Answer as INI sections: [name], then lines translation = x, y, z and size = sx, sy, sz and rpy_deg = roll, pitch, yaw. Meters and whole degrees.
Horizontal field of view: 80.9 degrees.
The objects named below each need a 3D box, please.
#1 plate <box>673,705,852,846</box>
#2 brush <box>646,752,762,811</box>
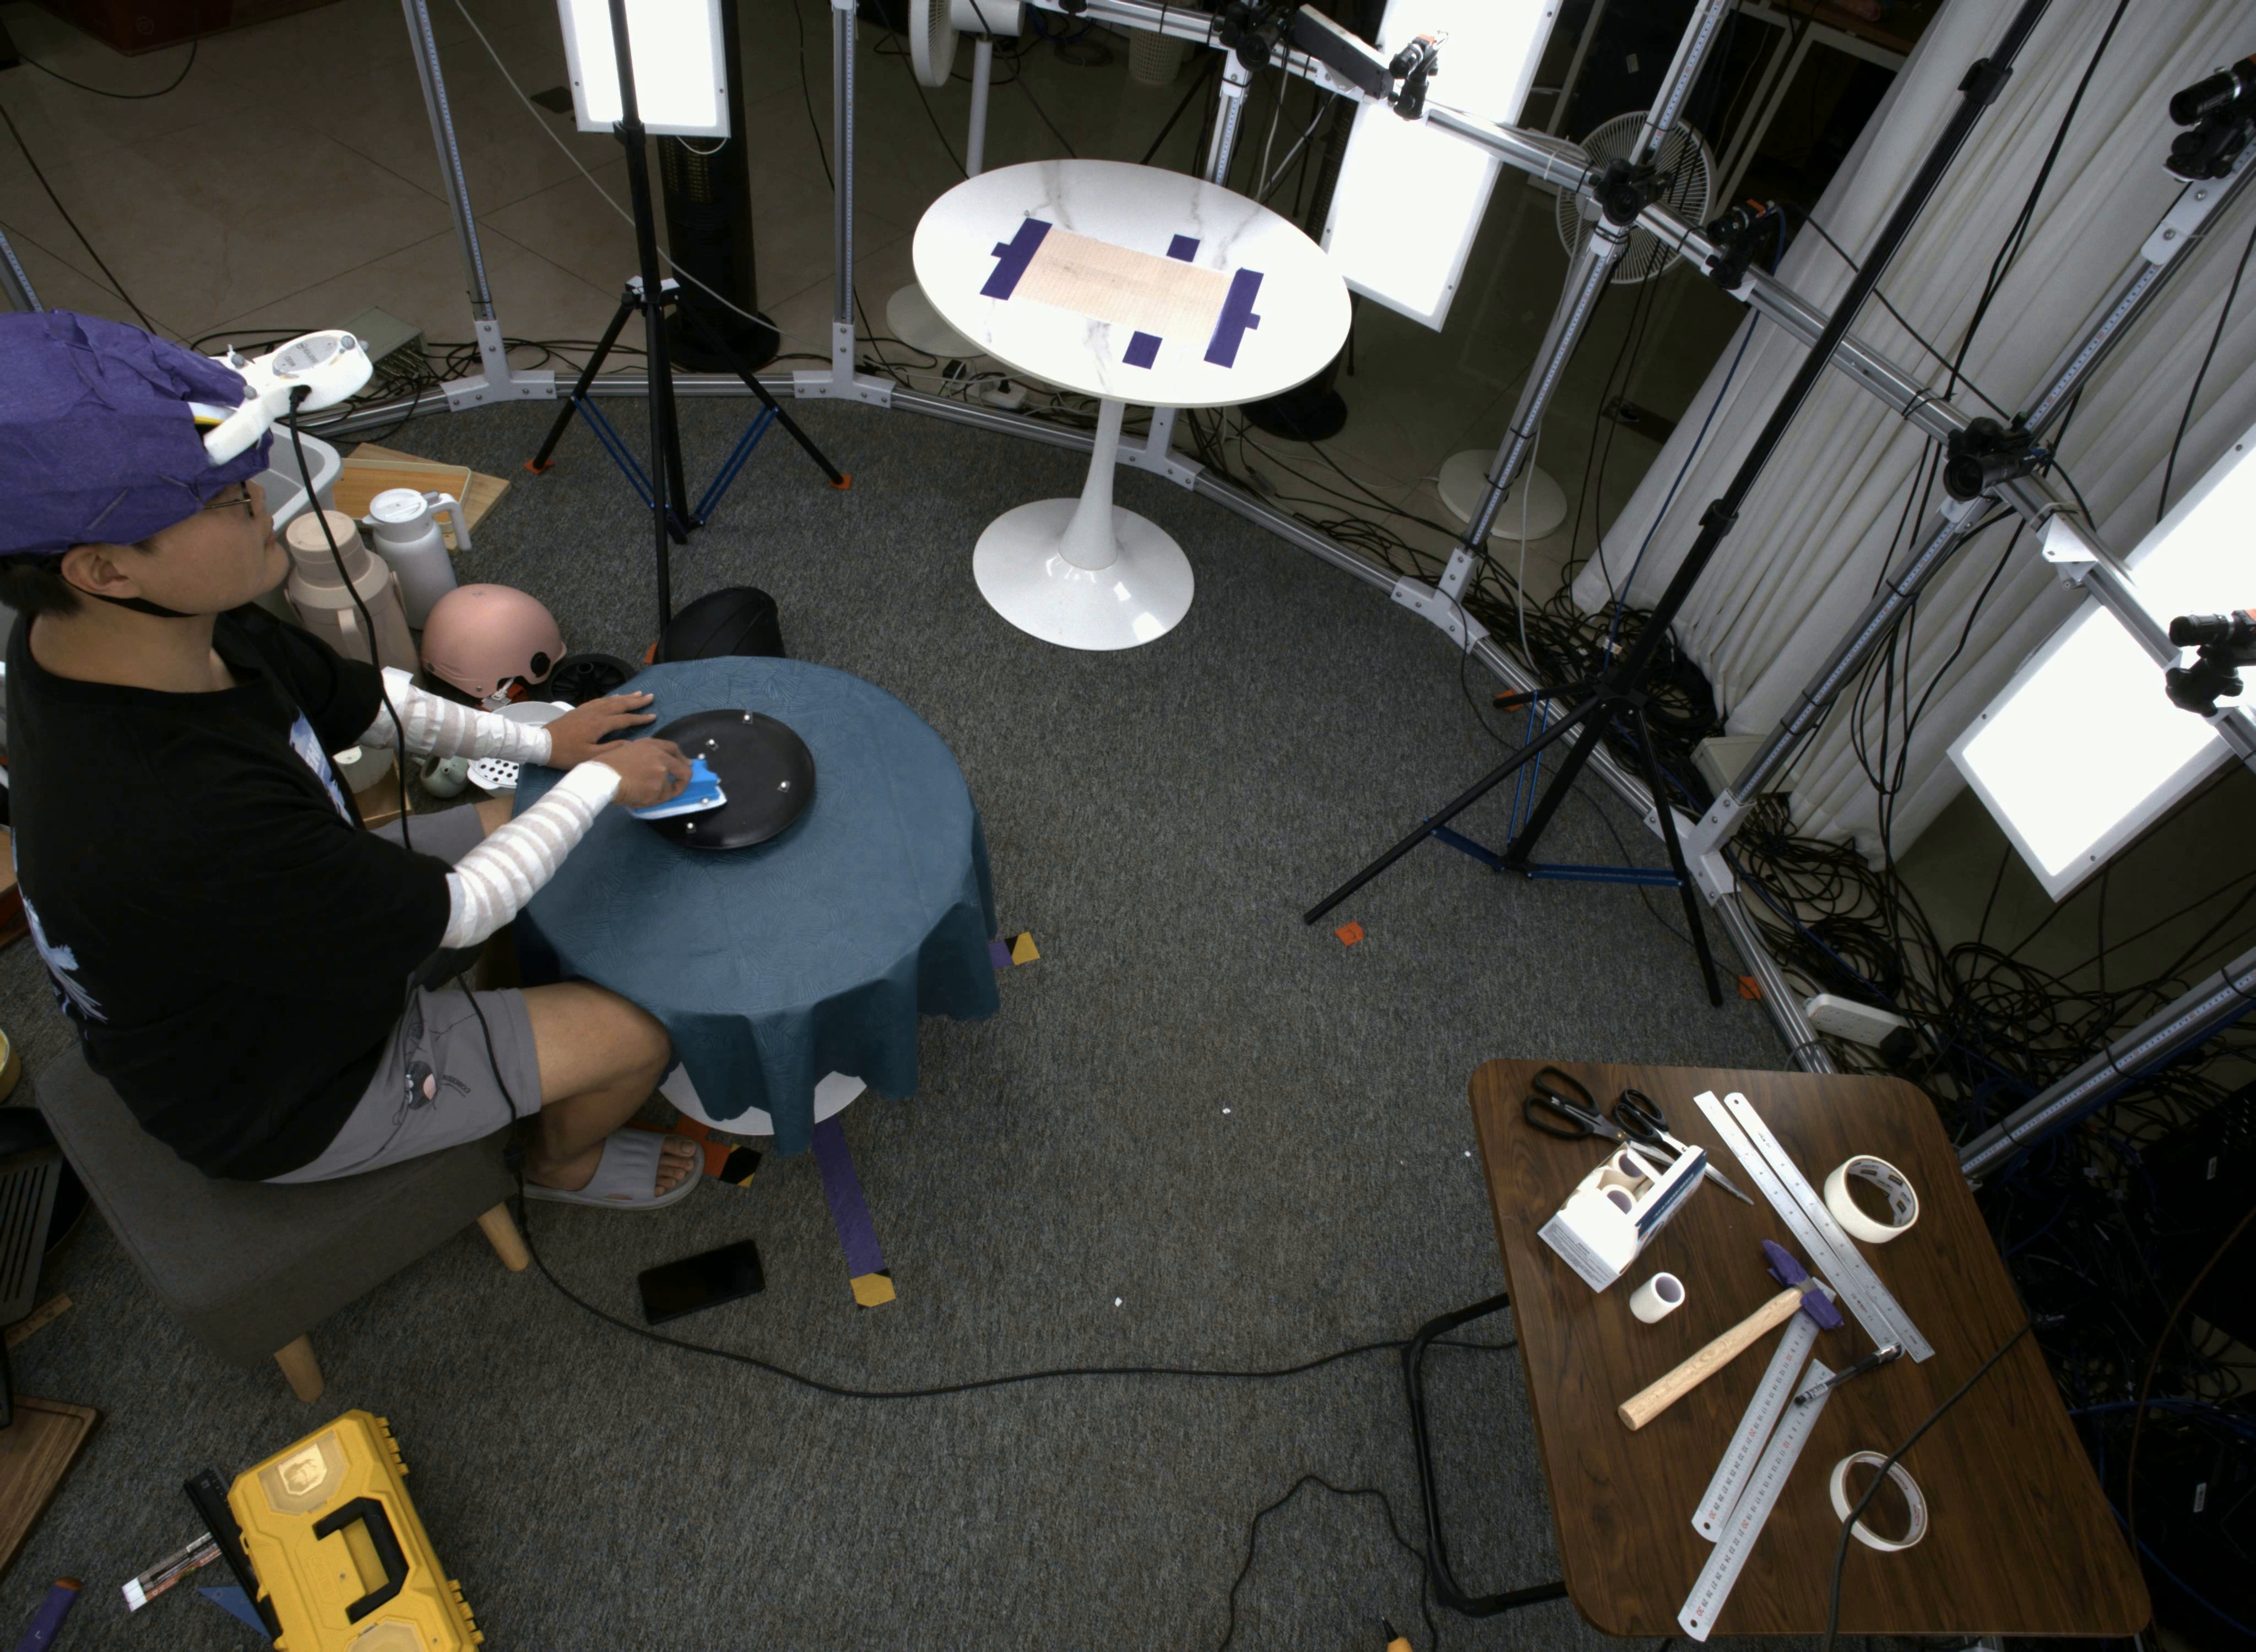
[plate]
translation = -0.496, -0.067, 1.750
size = 0.244, 0.024, 0.240
rpy_deg = 8, 53, -9
[brush]
translation = -0.549, -0.064, 1.674
size = 0.081, 0.057, 0.146
rpy_deg = 44, 32, 27
